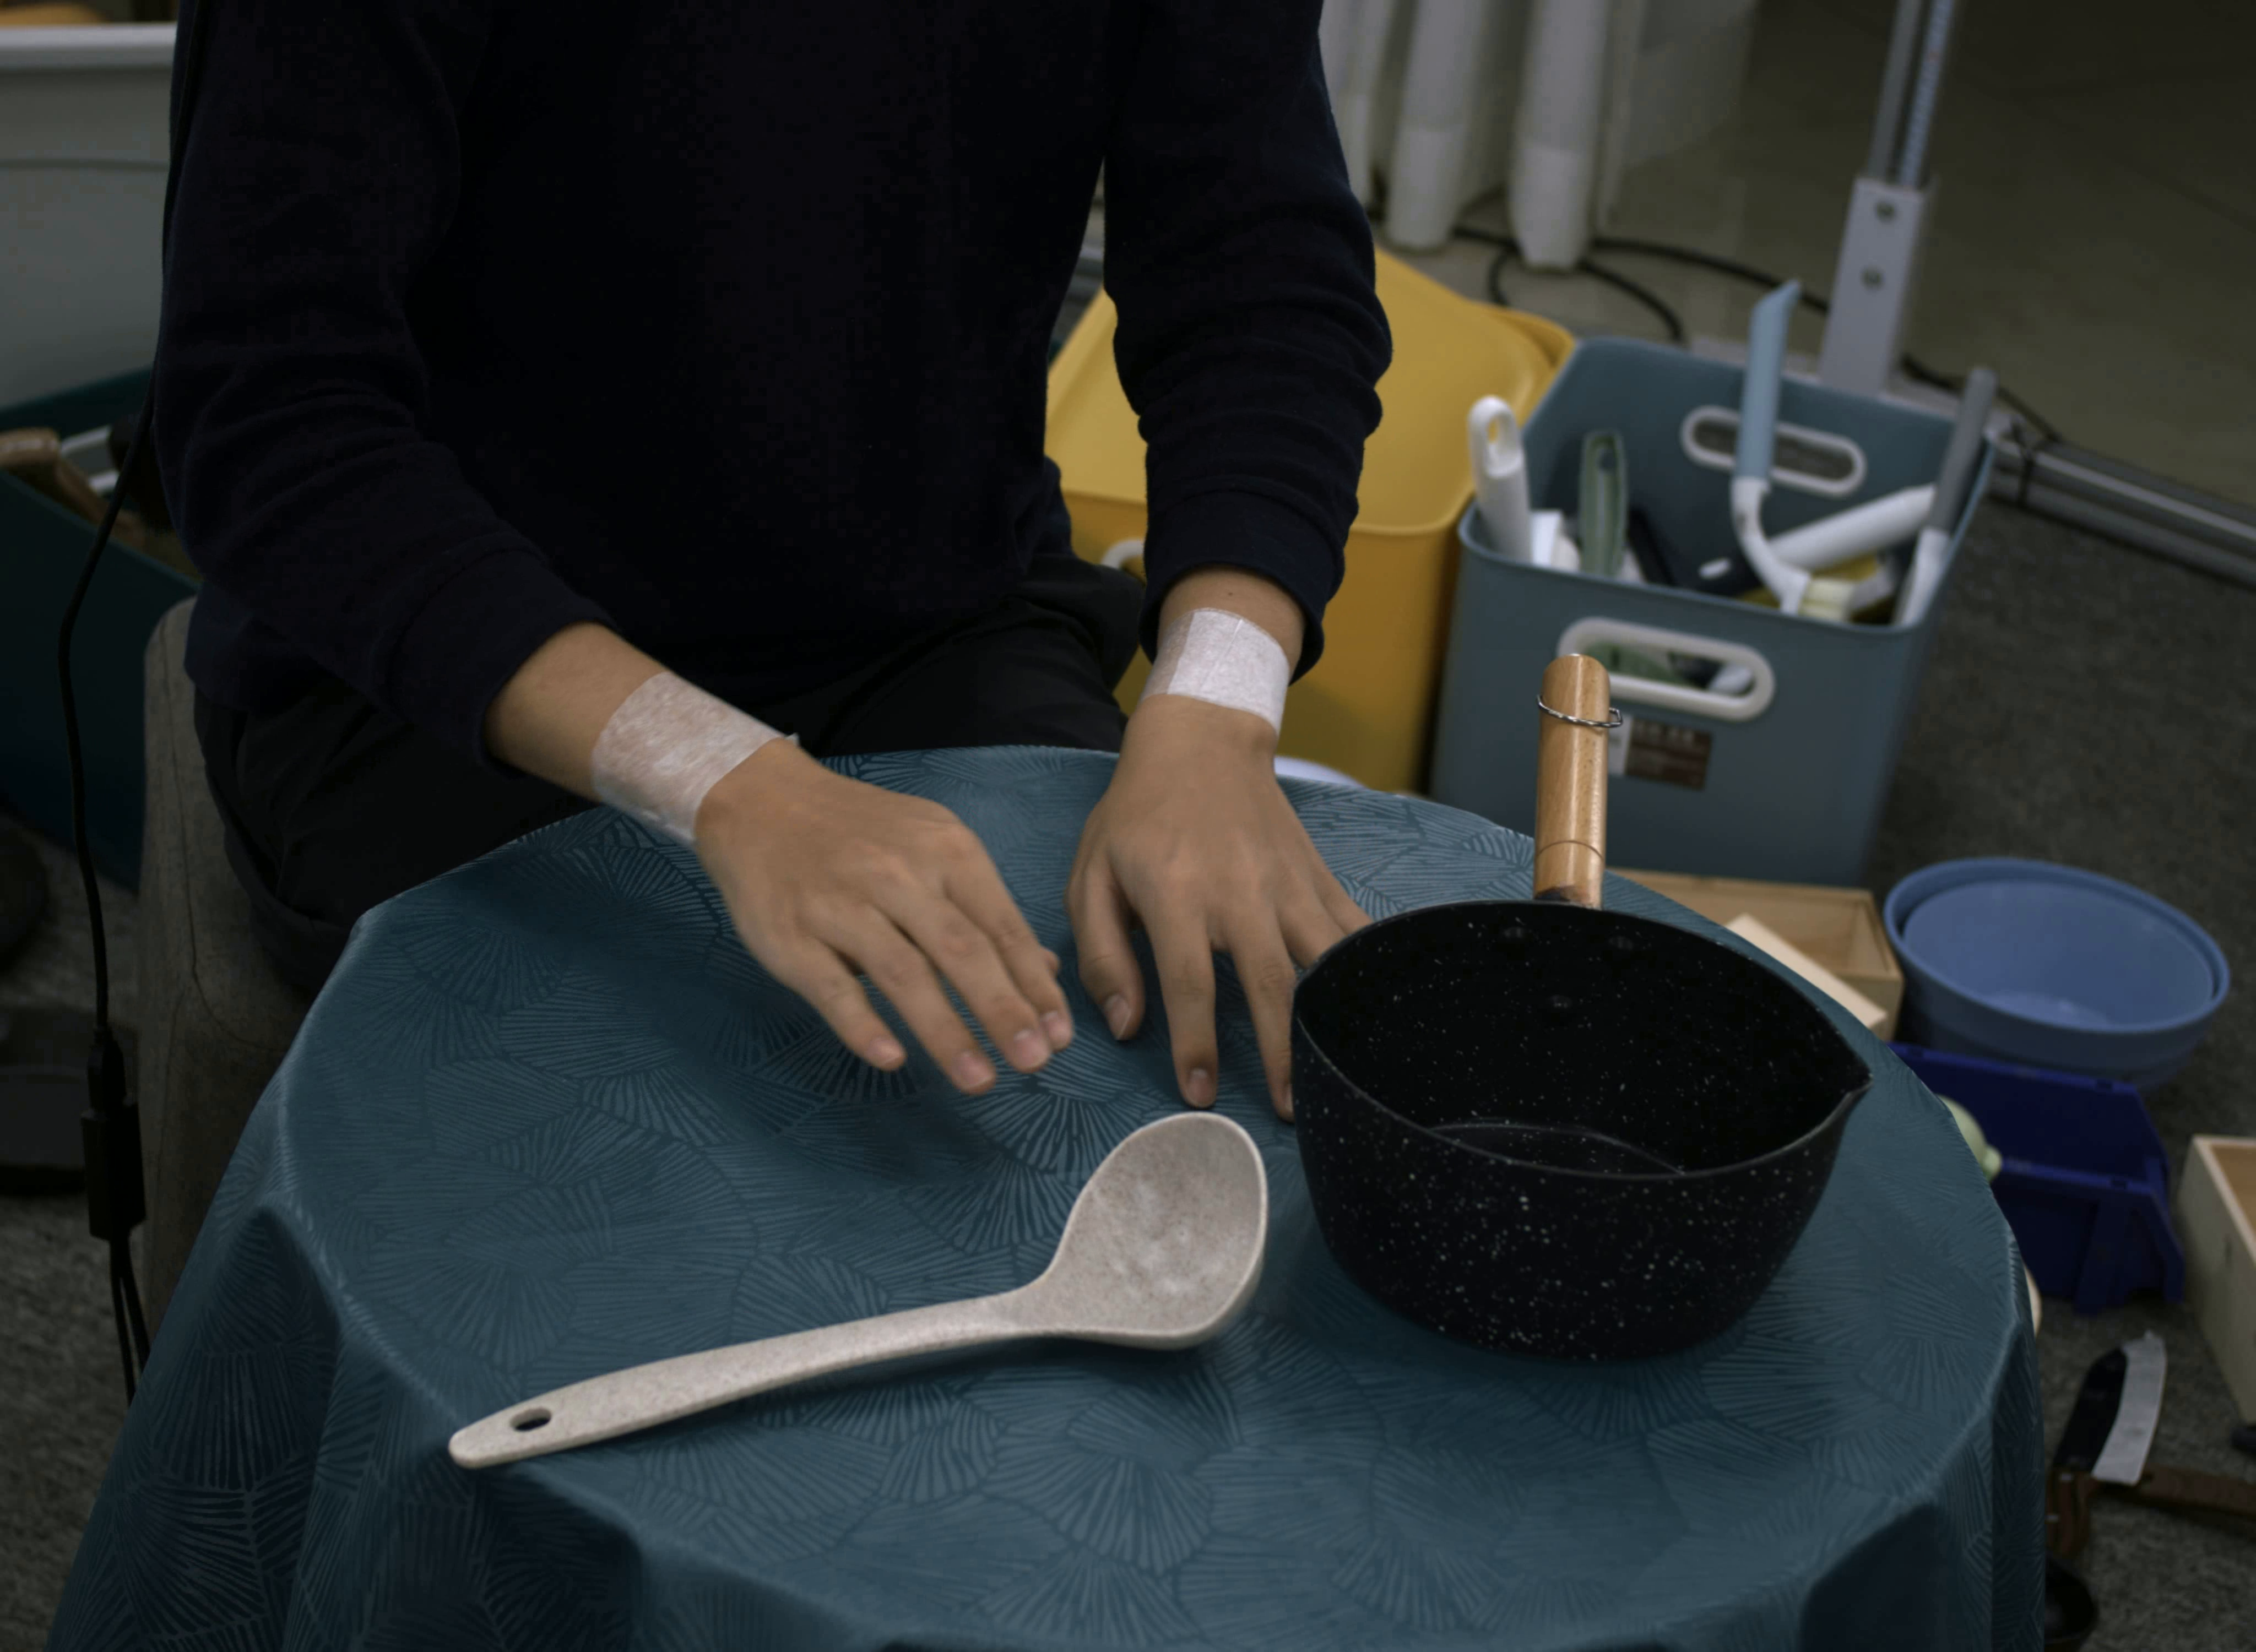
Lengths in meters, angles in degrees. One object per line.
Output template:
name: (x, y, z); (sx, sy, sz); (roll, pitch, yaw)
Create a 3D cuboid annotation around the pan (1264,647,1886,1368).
pan: (0.149, 0.059, 1.845); (0.207, 0.108, 0.345); (6, 28, 0)

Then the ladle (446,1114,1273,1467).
ladle: (-0.082, 0.146, 1.666); (0.273, 0.069, 0.090); (-8, 36, -27)
